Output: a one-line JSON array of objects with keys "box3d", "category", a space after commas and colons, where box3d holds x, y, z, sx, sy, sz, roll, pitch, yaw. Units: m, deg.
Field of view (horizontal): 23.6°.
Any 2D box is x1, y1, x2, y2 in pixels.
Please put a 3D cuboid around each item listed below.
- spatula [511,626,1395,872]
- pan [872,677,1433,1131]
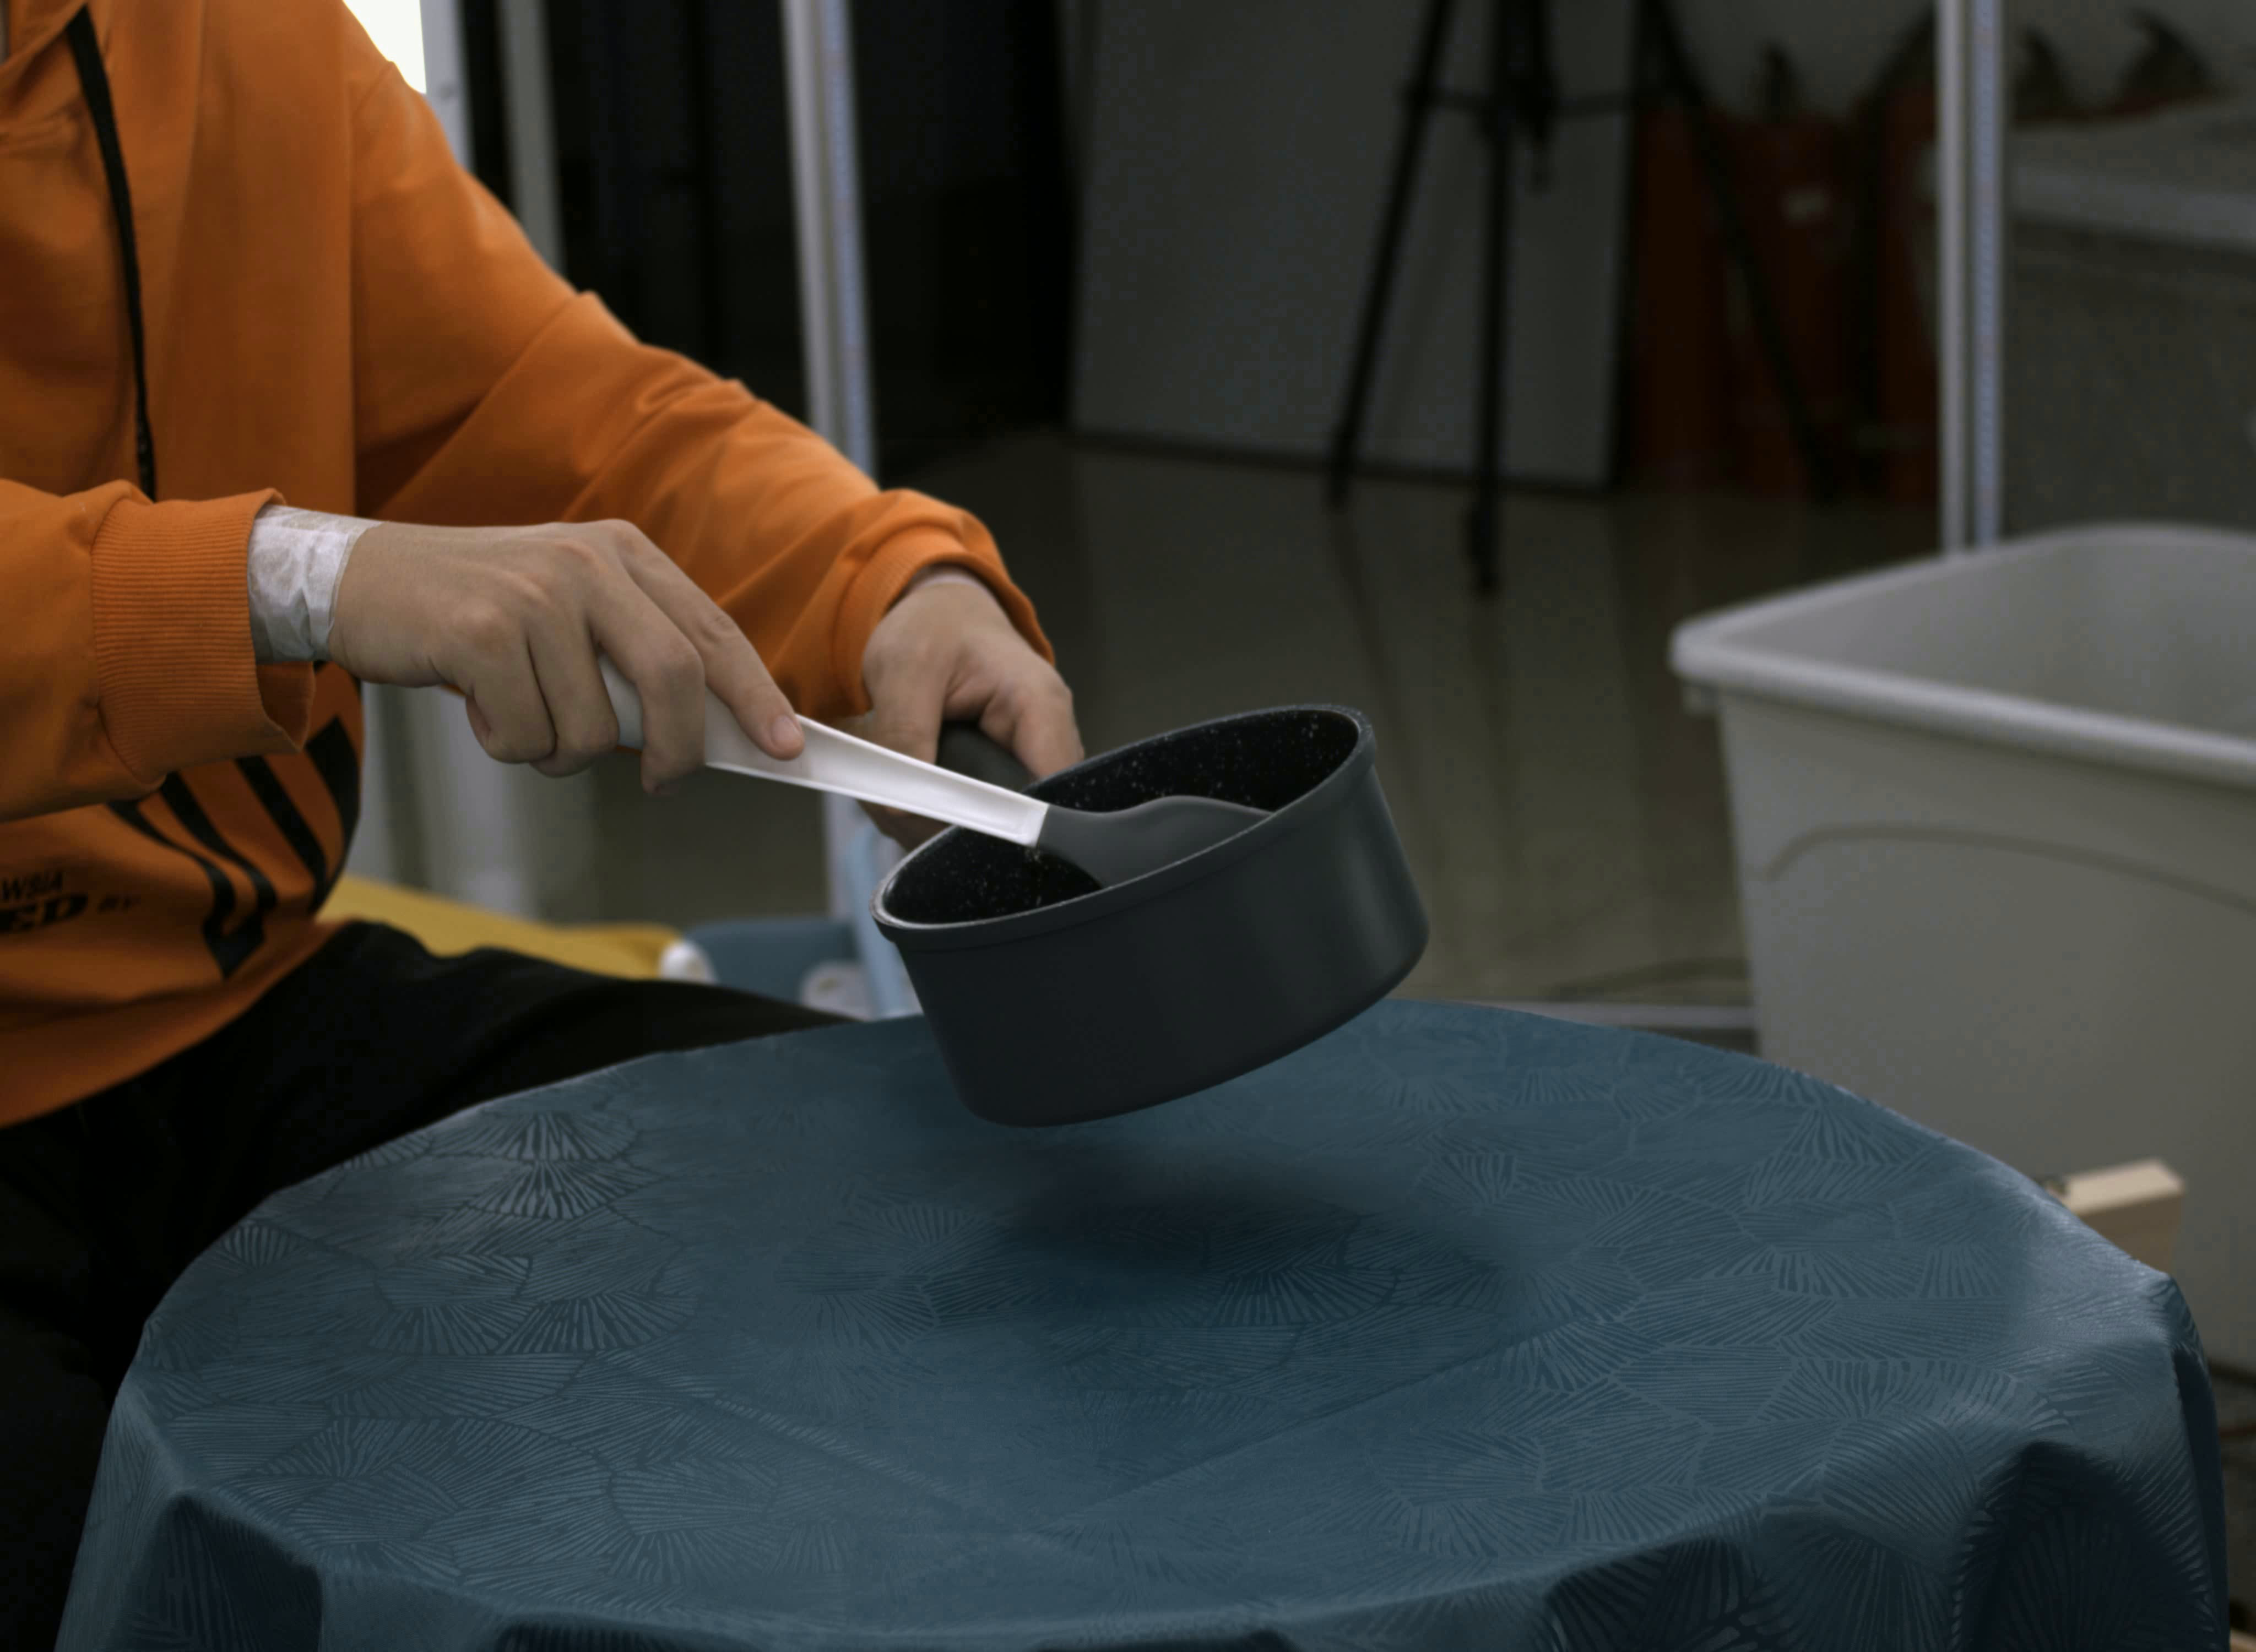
[{"box3d": [-0.057, -0.013, 1.713, 0.286, 0.059, 0.032, 15, -7, 10], "category": "spatula"}, {"box3d": [-0.014, 0.015, 1.793, 0.169, 0.087, 0.331, -24, 15, -12], "category": "pan"}]
